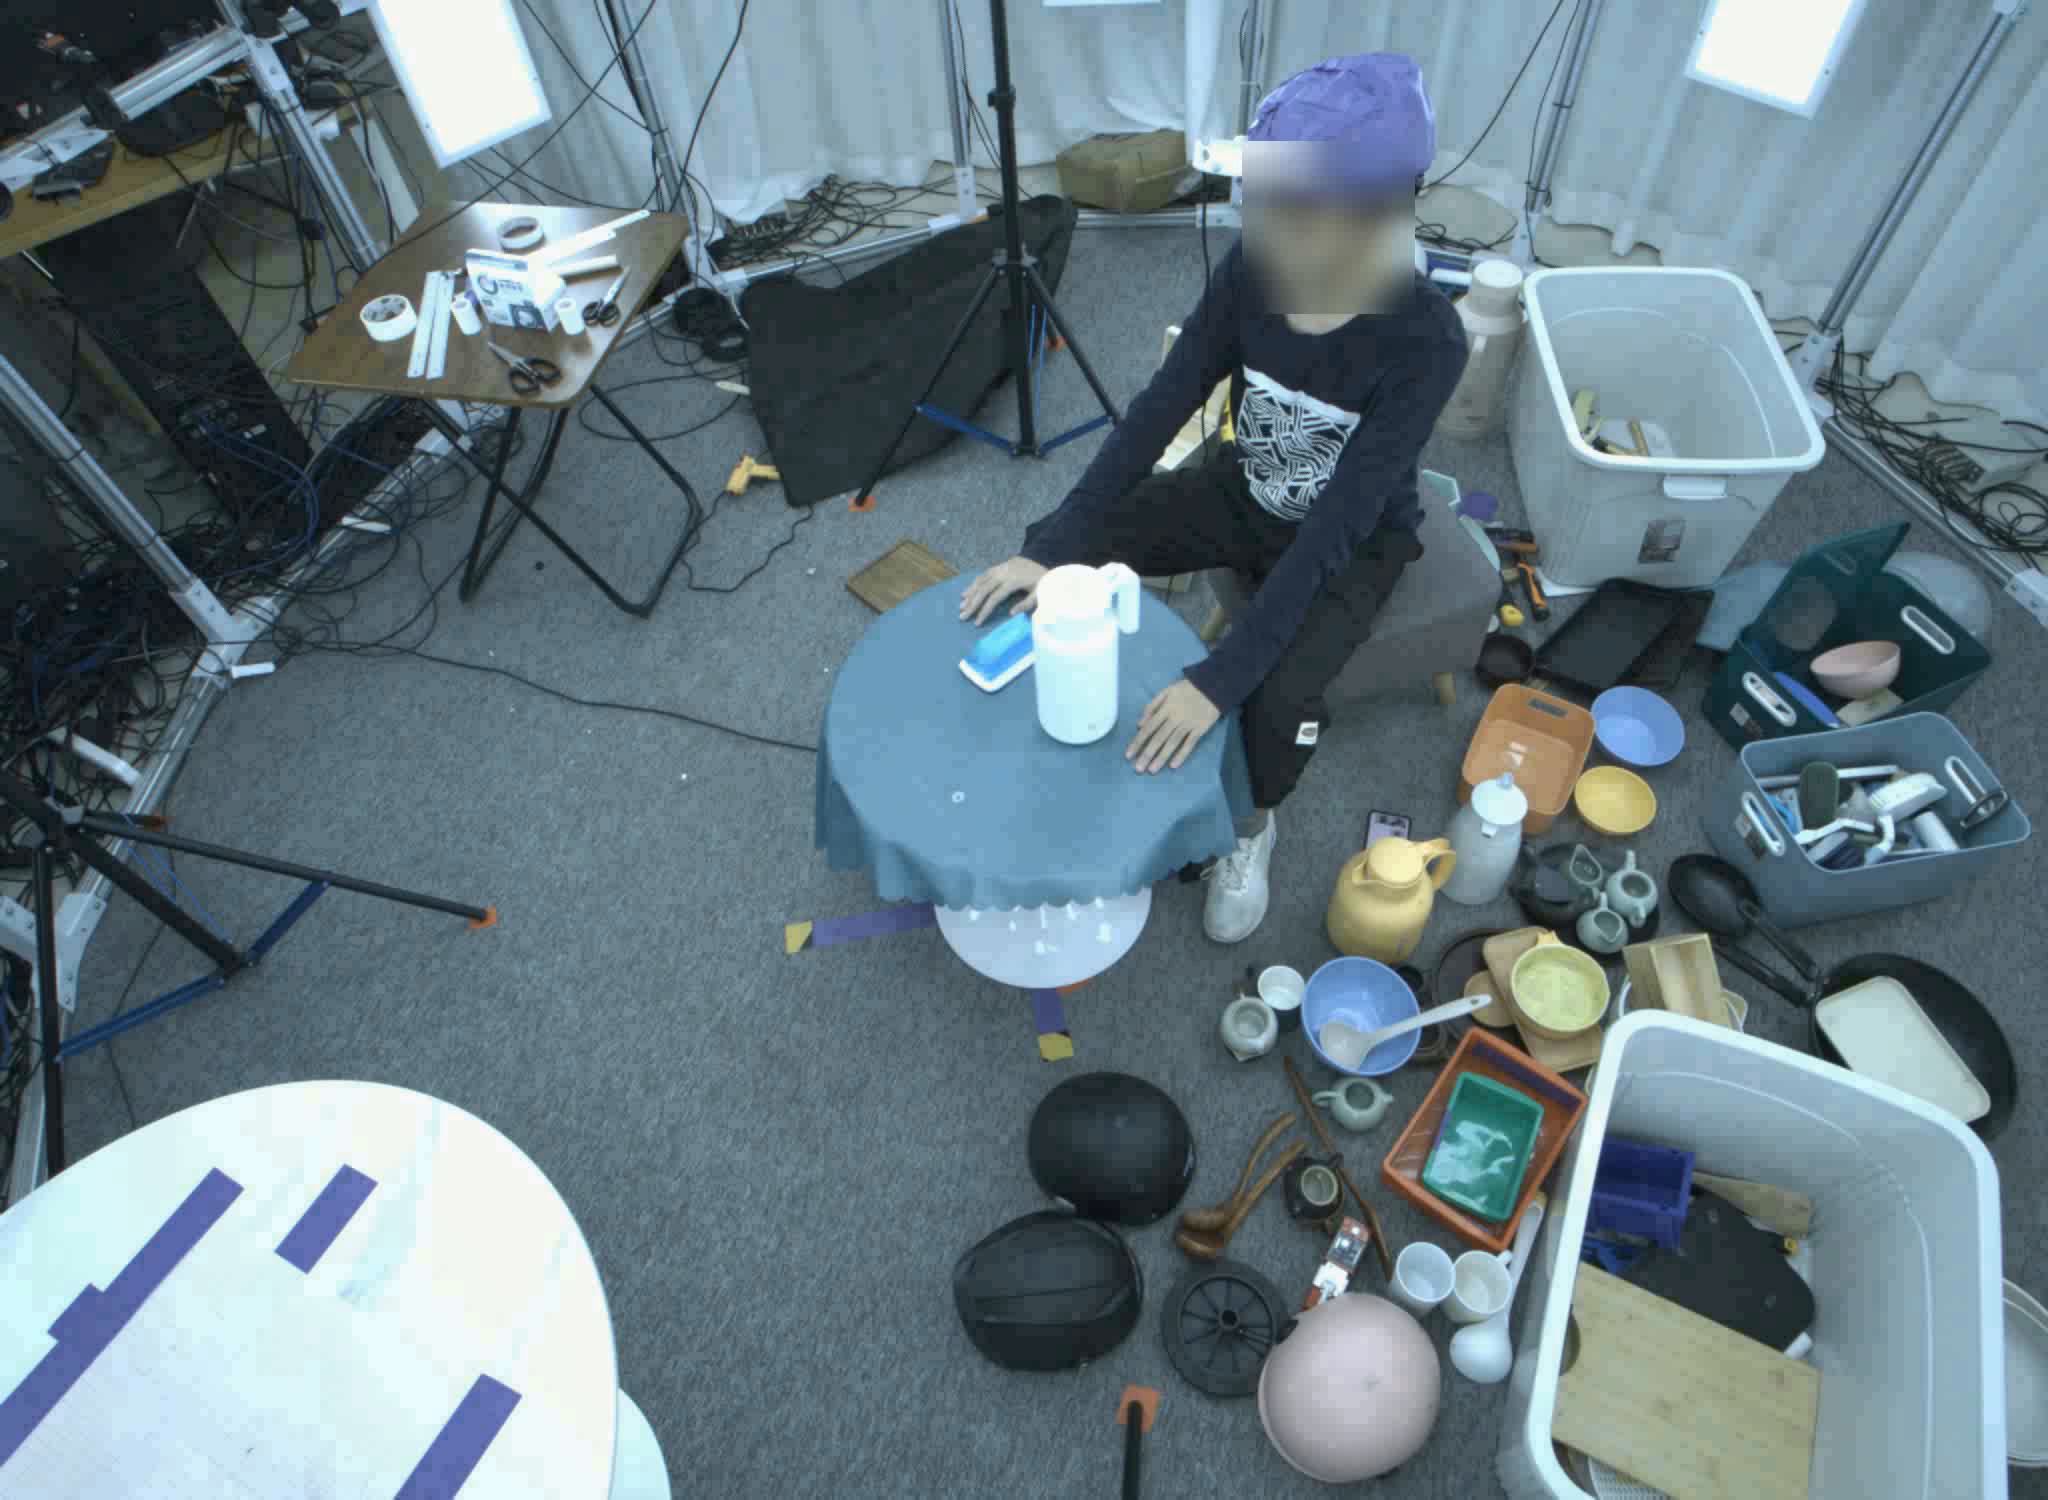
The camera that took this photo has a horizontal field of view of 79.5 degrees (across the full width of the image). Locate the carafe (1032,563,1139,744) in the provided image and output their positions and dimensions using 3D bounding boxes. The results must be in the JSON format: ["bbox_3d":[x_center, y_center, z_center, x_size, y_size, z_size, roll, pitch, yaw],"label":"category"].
[{"bbox_3d":[0.085,-0.140,1.712,0.174,0.272,0.121,-36,58,-21],"label":"carafe"}]

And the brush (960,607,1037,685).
[{"bbox_3d":[-0.025,-0.166,1.860,0.145,0.056,0.082,-39,64,-19],"label":"brush"}]
